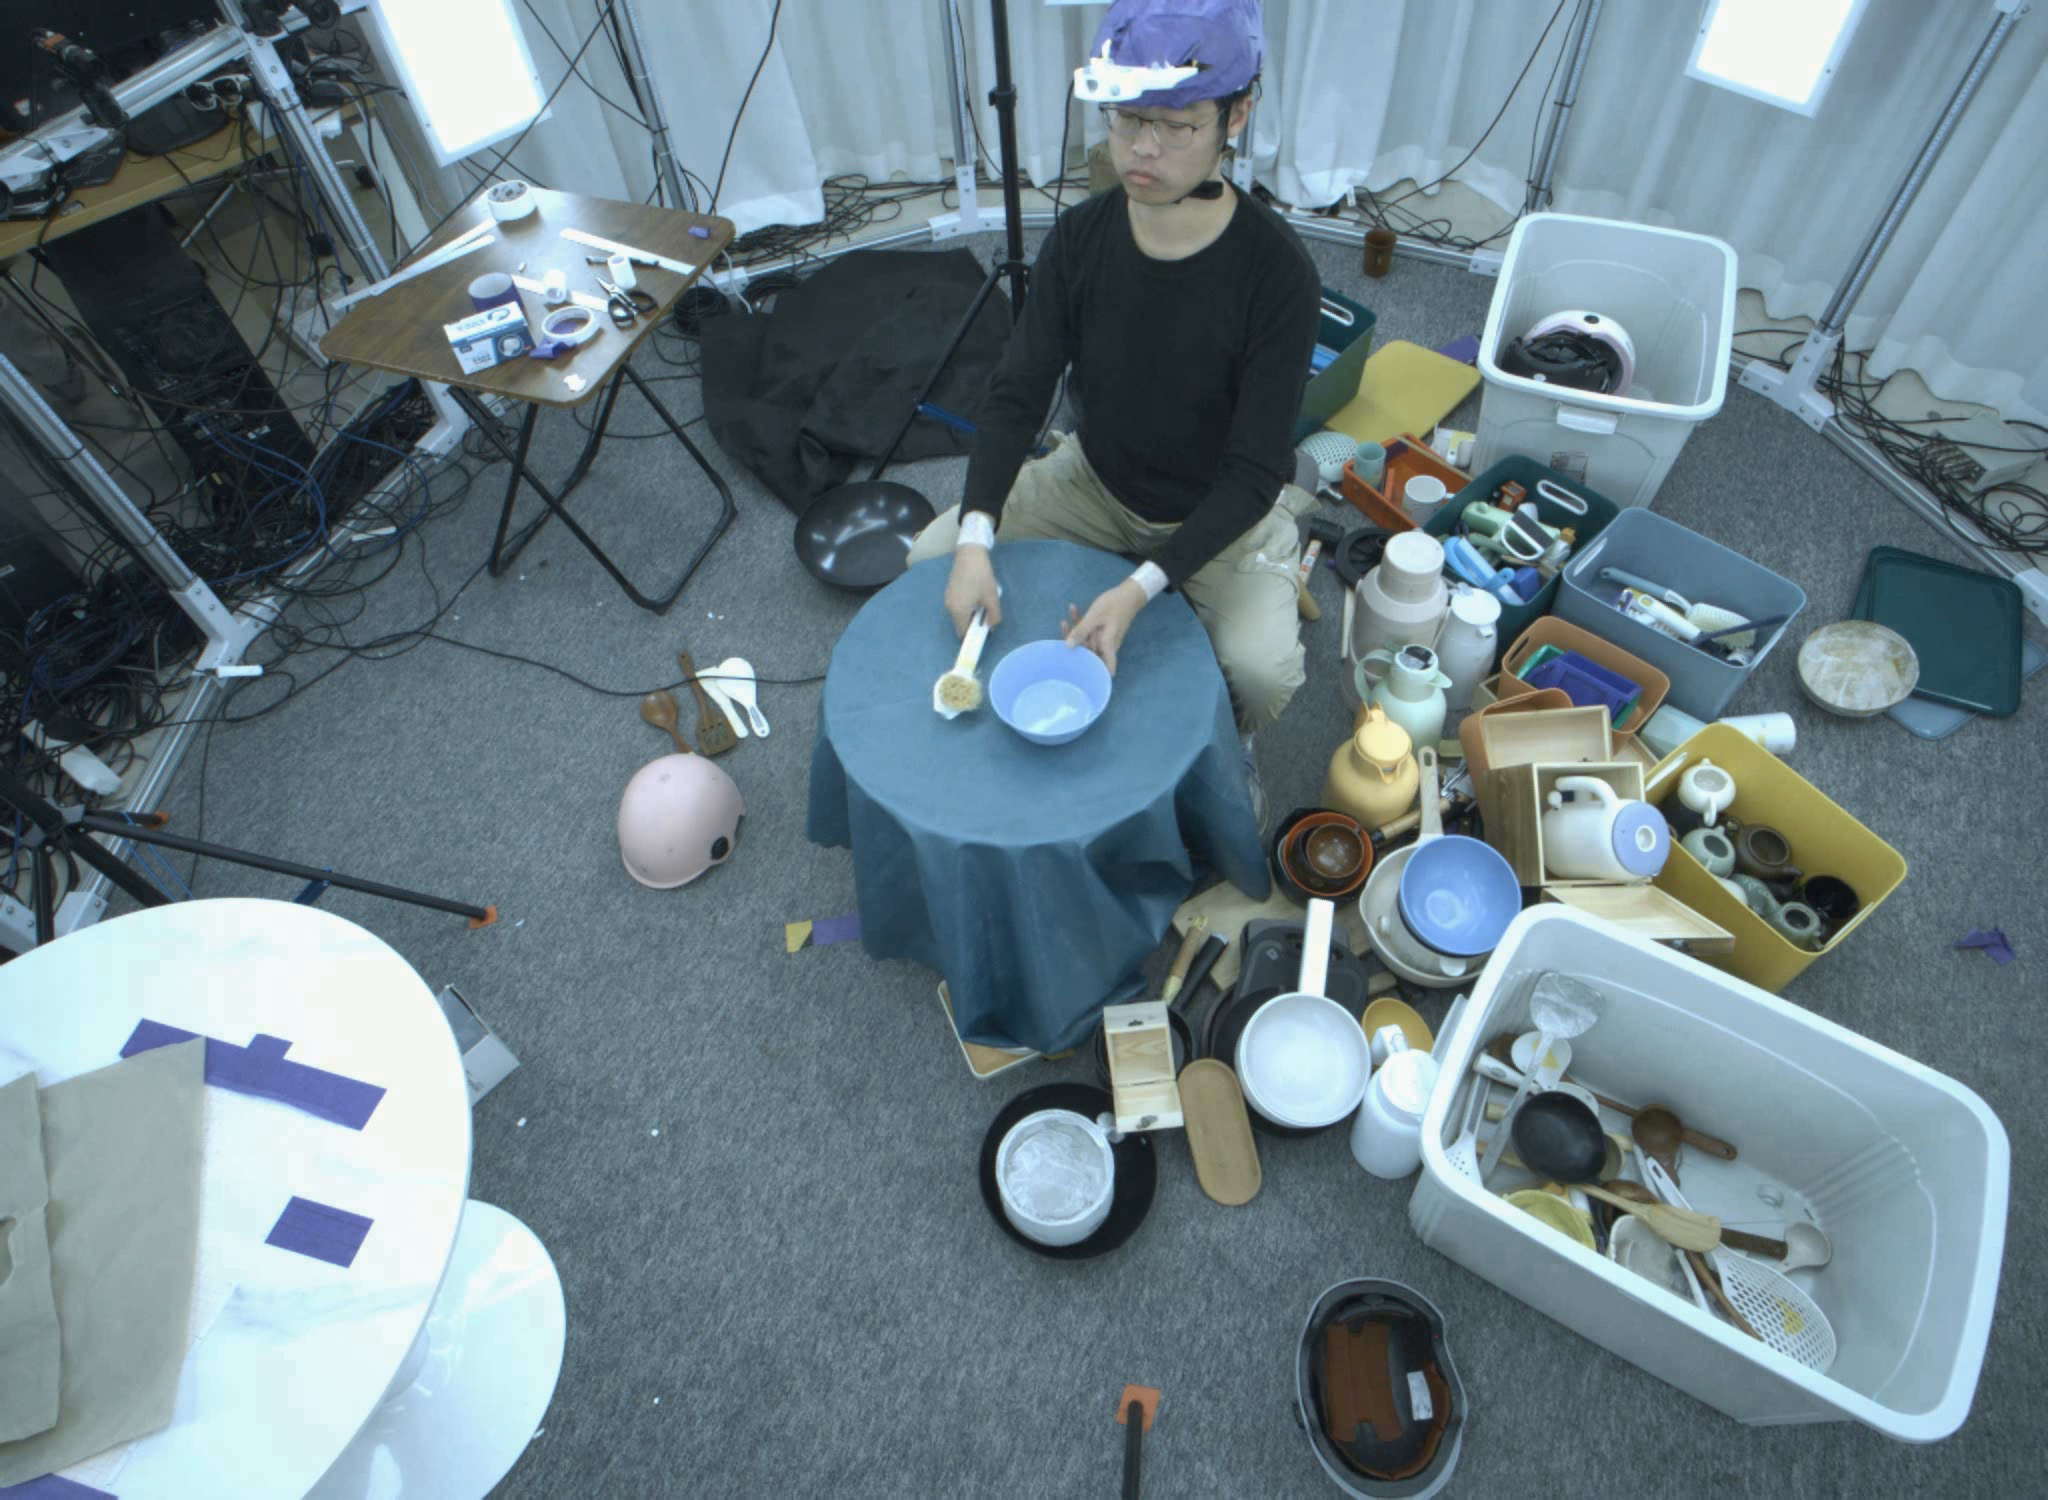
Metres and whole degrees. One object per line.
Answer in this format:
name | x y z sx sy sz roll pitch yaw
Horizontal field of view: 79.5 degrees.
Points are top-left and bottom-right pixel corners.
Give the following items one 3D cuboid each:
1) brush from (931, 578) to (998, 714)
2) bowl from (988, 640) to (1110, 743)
brush | -0.076 -0.169 1.857 0.070 0.055 0.266 34 57 -24
bowl | 0.037 -0.075 1.796 0.176 0.071 0.174 0 54 1
